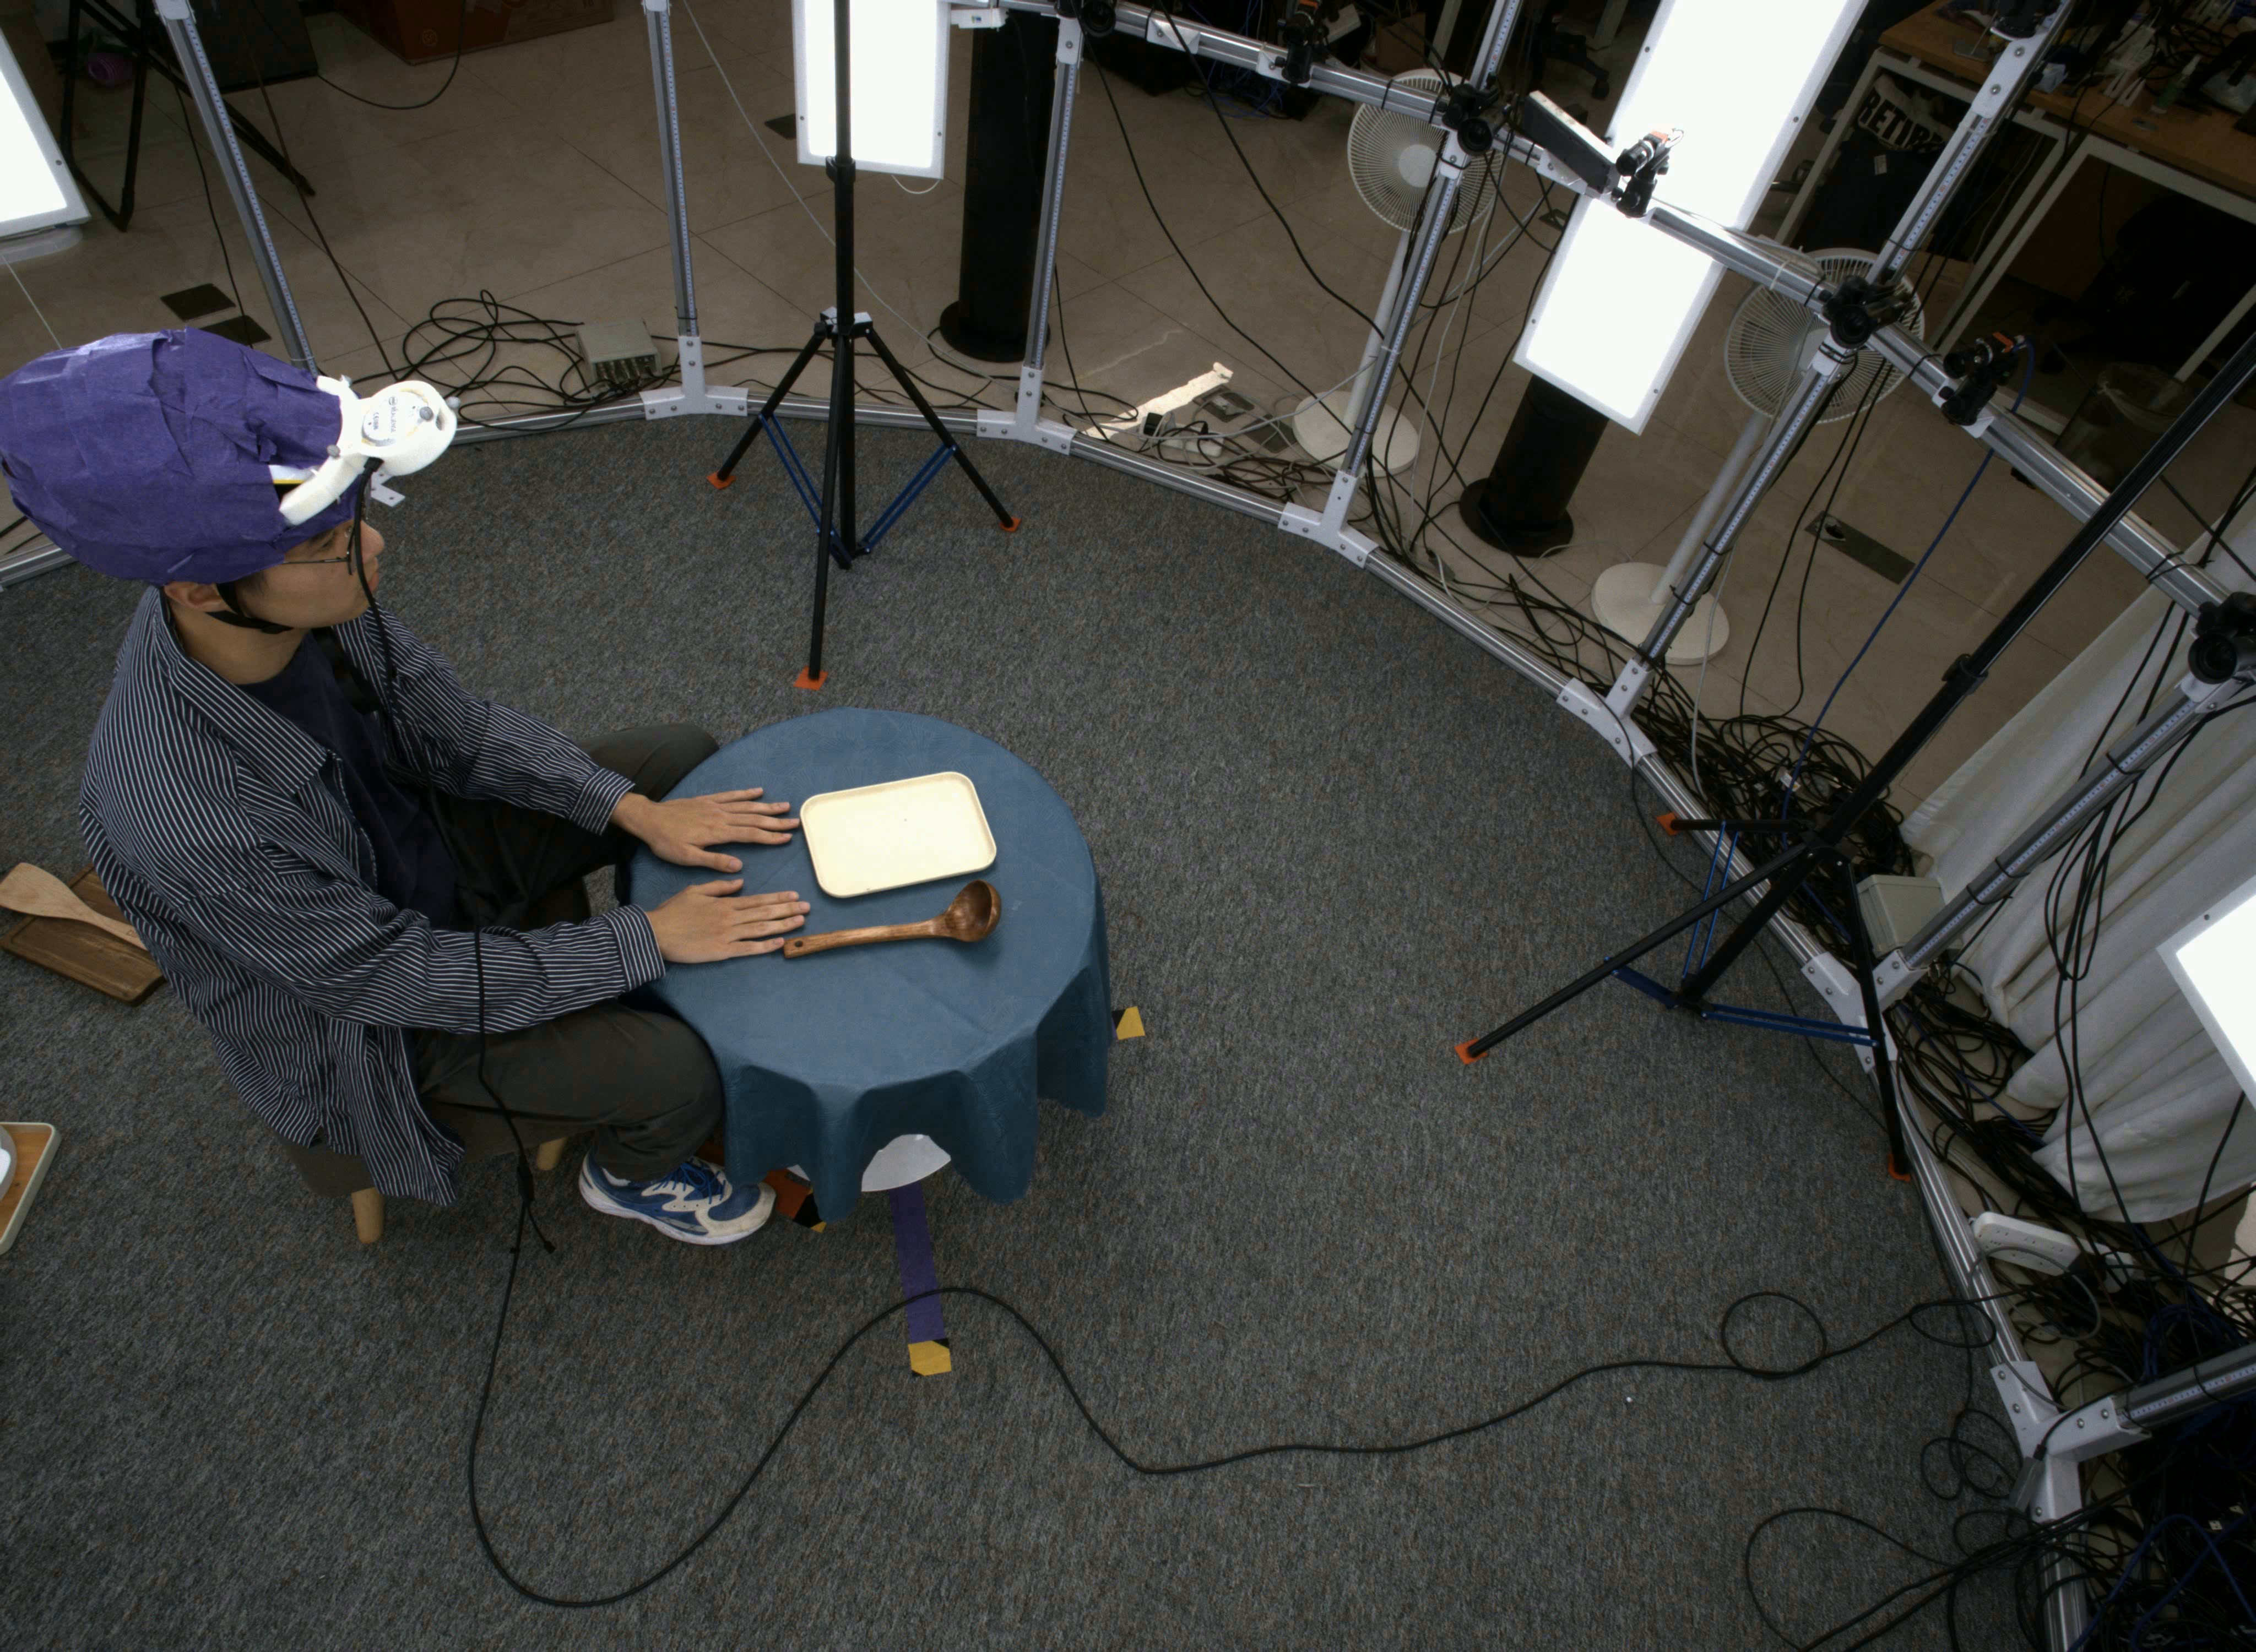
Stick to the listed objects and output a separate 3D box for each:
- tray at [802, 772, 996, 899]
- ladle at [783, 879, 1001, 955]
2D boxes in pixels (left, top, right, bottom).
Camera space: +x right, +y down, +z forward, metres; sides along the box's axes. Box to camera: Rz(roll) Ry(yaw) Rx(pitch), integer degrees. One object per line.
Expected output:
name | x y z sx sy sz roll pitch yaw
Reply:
tray | -0.308 0.011 1.749 0.240 0.018 0.167 -11 57 -21
ladle | -0.296 0.119 1.634 0.275 0.078 0.080 -5 50 -16
